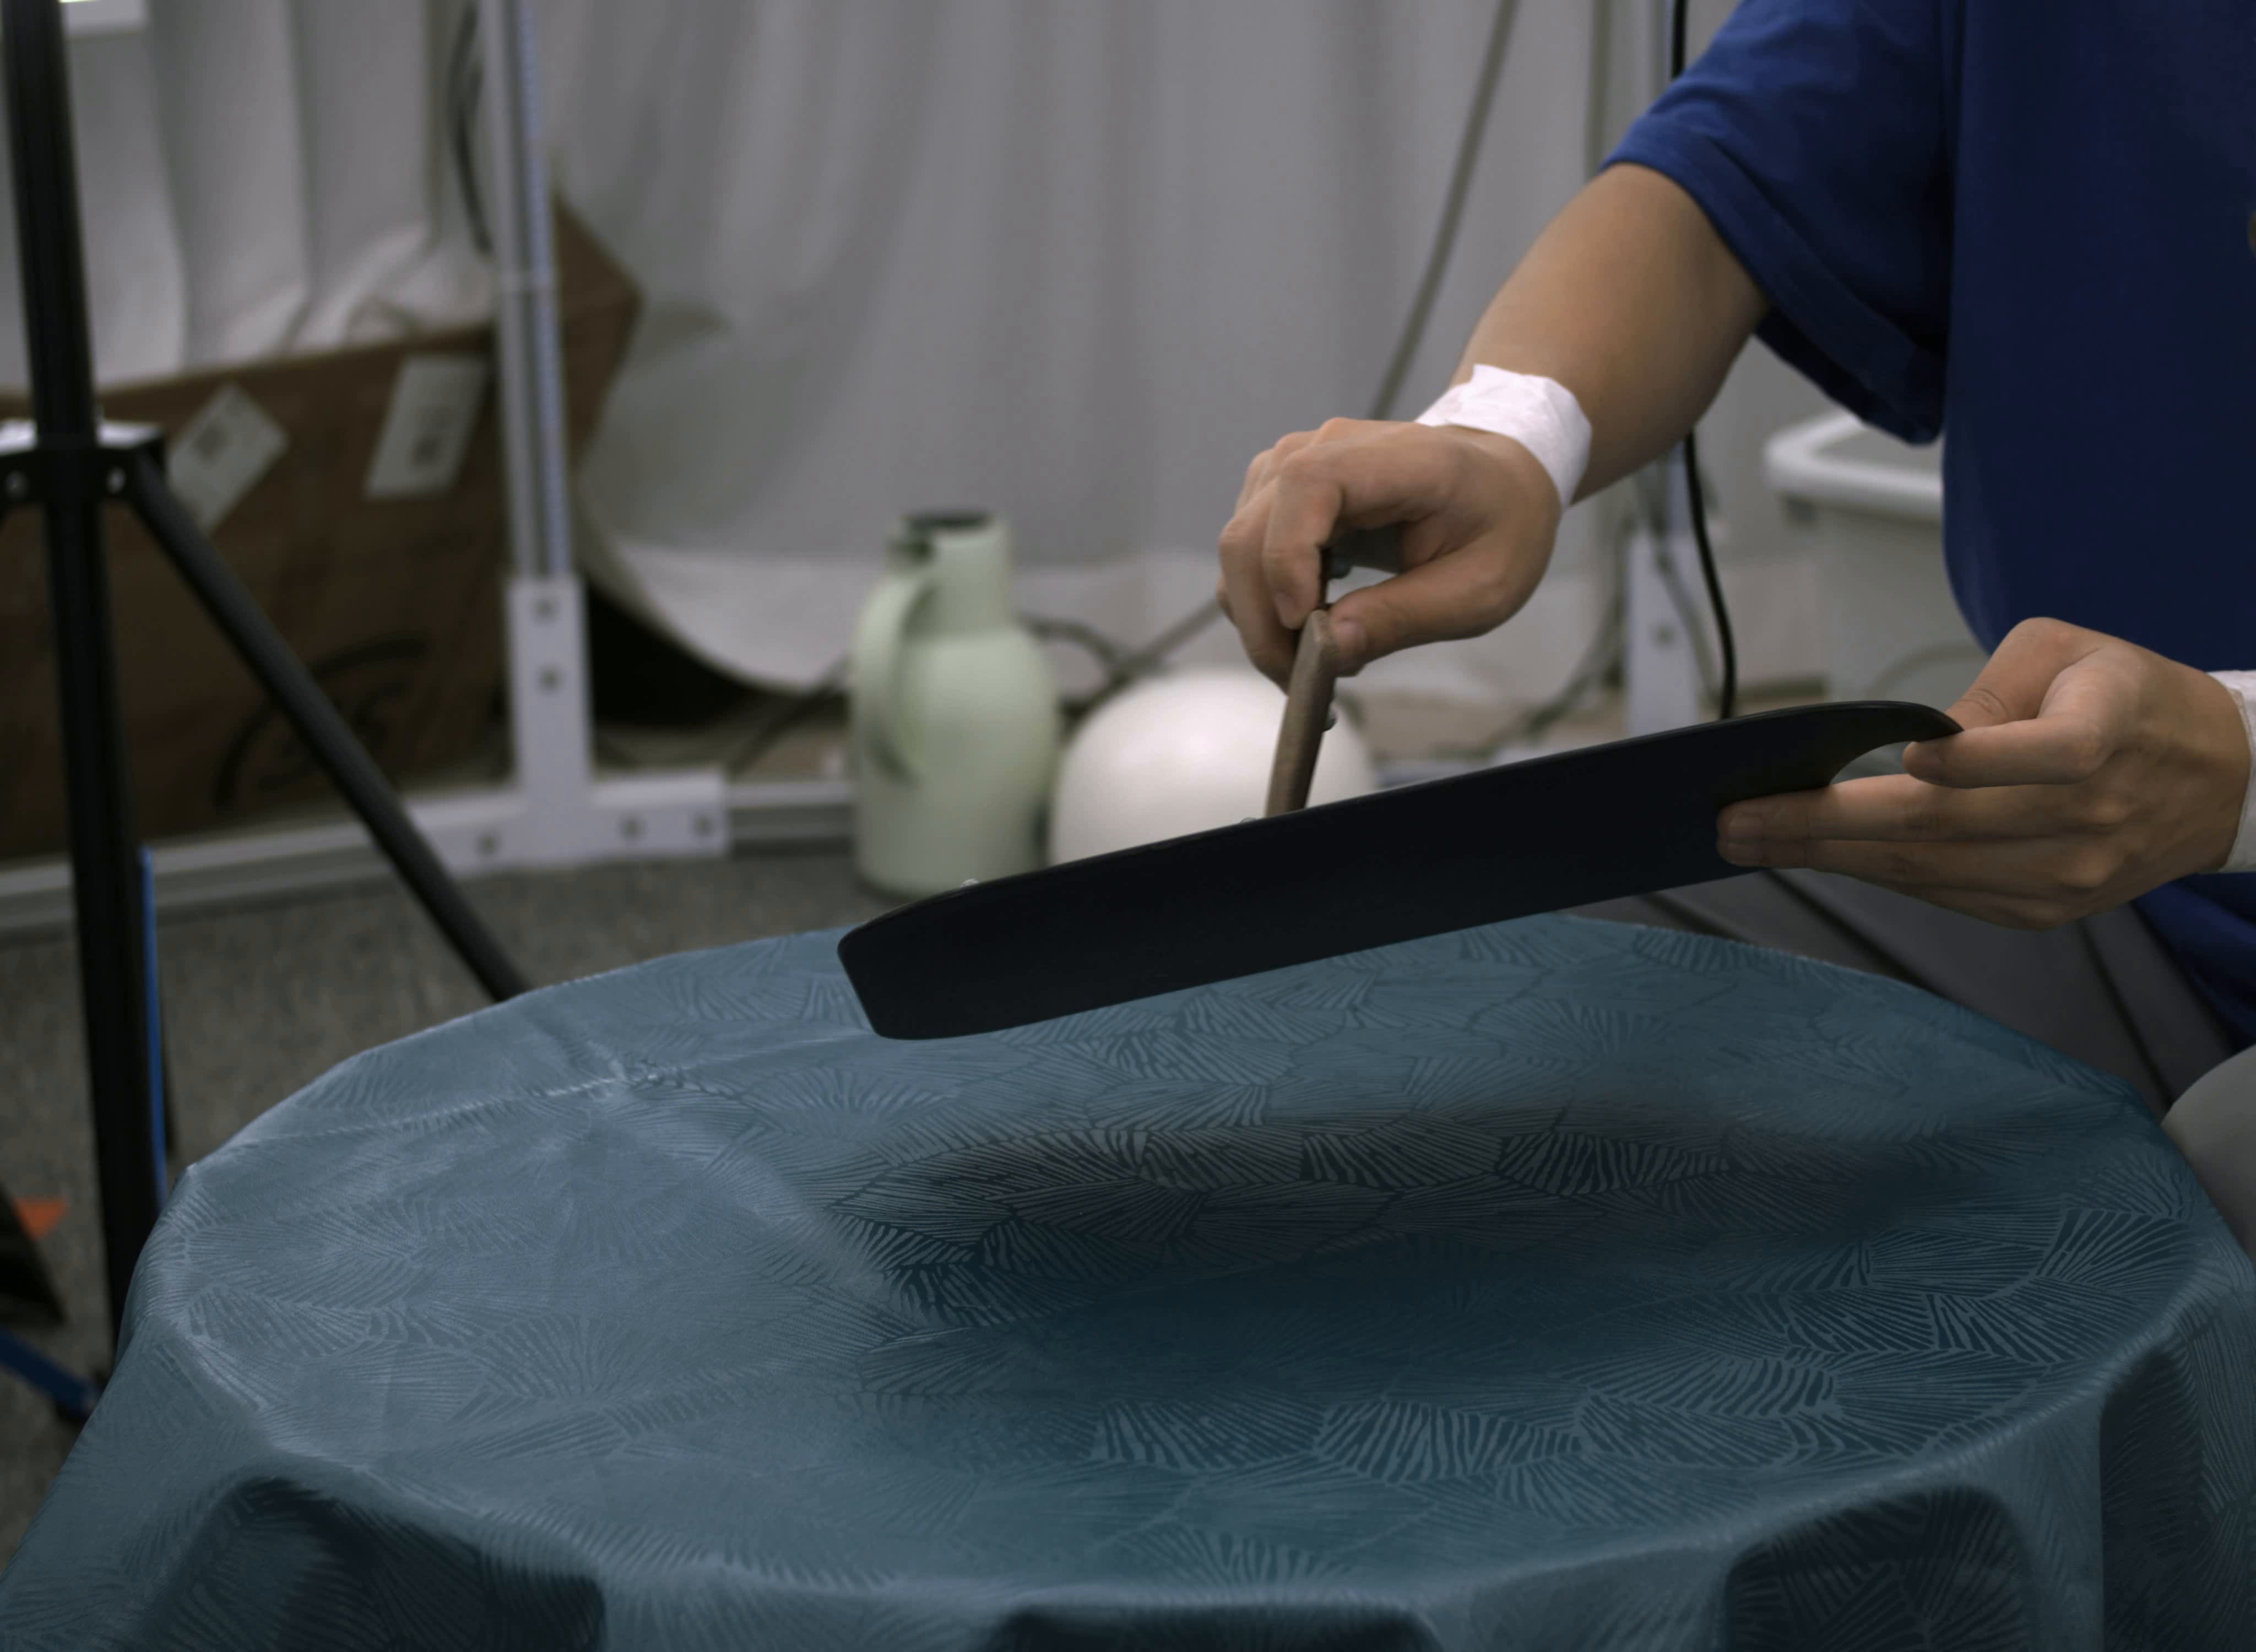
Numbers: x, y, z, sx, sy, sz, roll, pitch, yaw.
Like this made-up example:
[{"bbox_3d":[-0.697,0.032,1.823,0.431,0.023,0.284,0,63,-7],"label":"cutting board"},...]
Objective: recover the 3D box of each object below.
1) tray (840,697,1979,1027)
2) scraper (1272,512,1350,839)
[{"bbox_3d":[0.081,0.012,1.513,0.324,0.010,0.209,-12,-12,2],"label":"tray"},{"bbox_3d":[0.057,-0.052,1.578,0.011,0.076,0.211,12,20,0],"label":"scraper"}]
